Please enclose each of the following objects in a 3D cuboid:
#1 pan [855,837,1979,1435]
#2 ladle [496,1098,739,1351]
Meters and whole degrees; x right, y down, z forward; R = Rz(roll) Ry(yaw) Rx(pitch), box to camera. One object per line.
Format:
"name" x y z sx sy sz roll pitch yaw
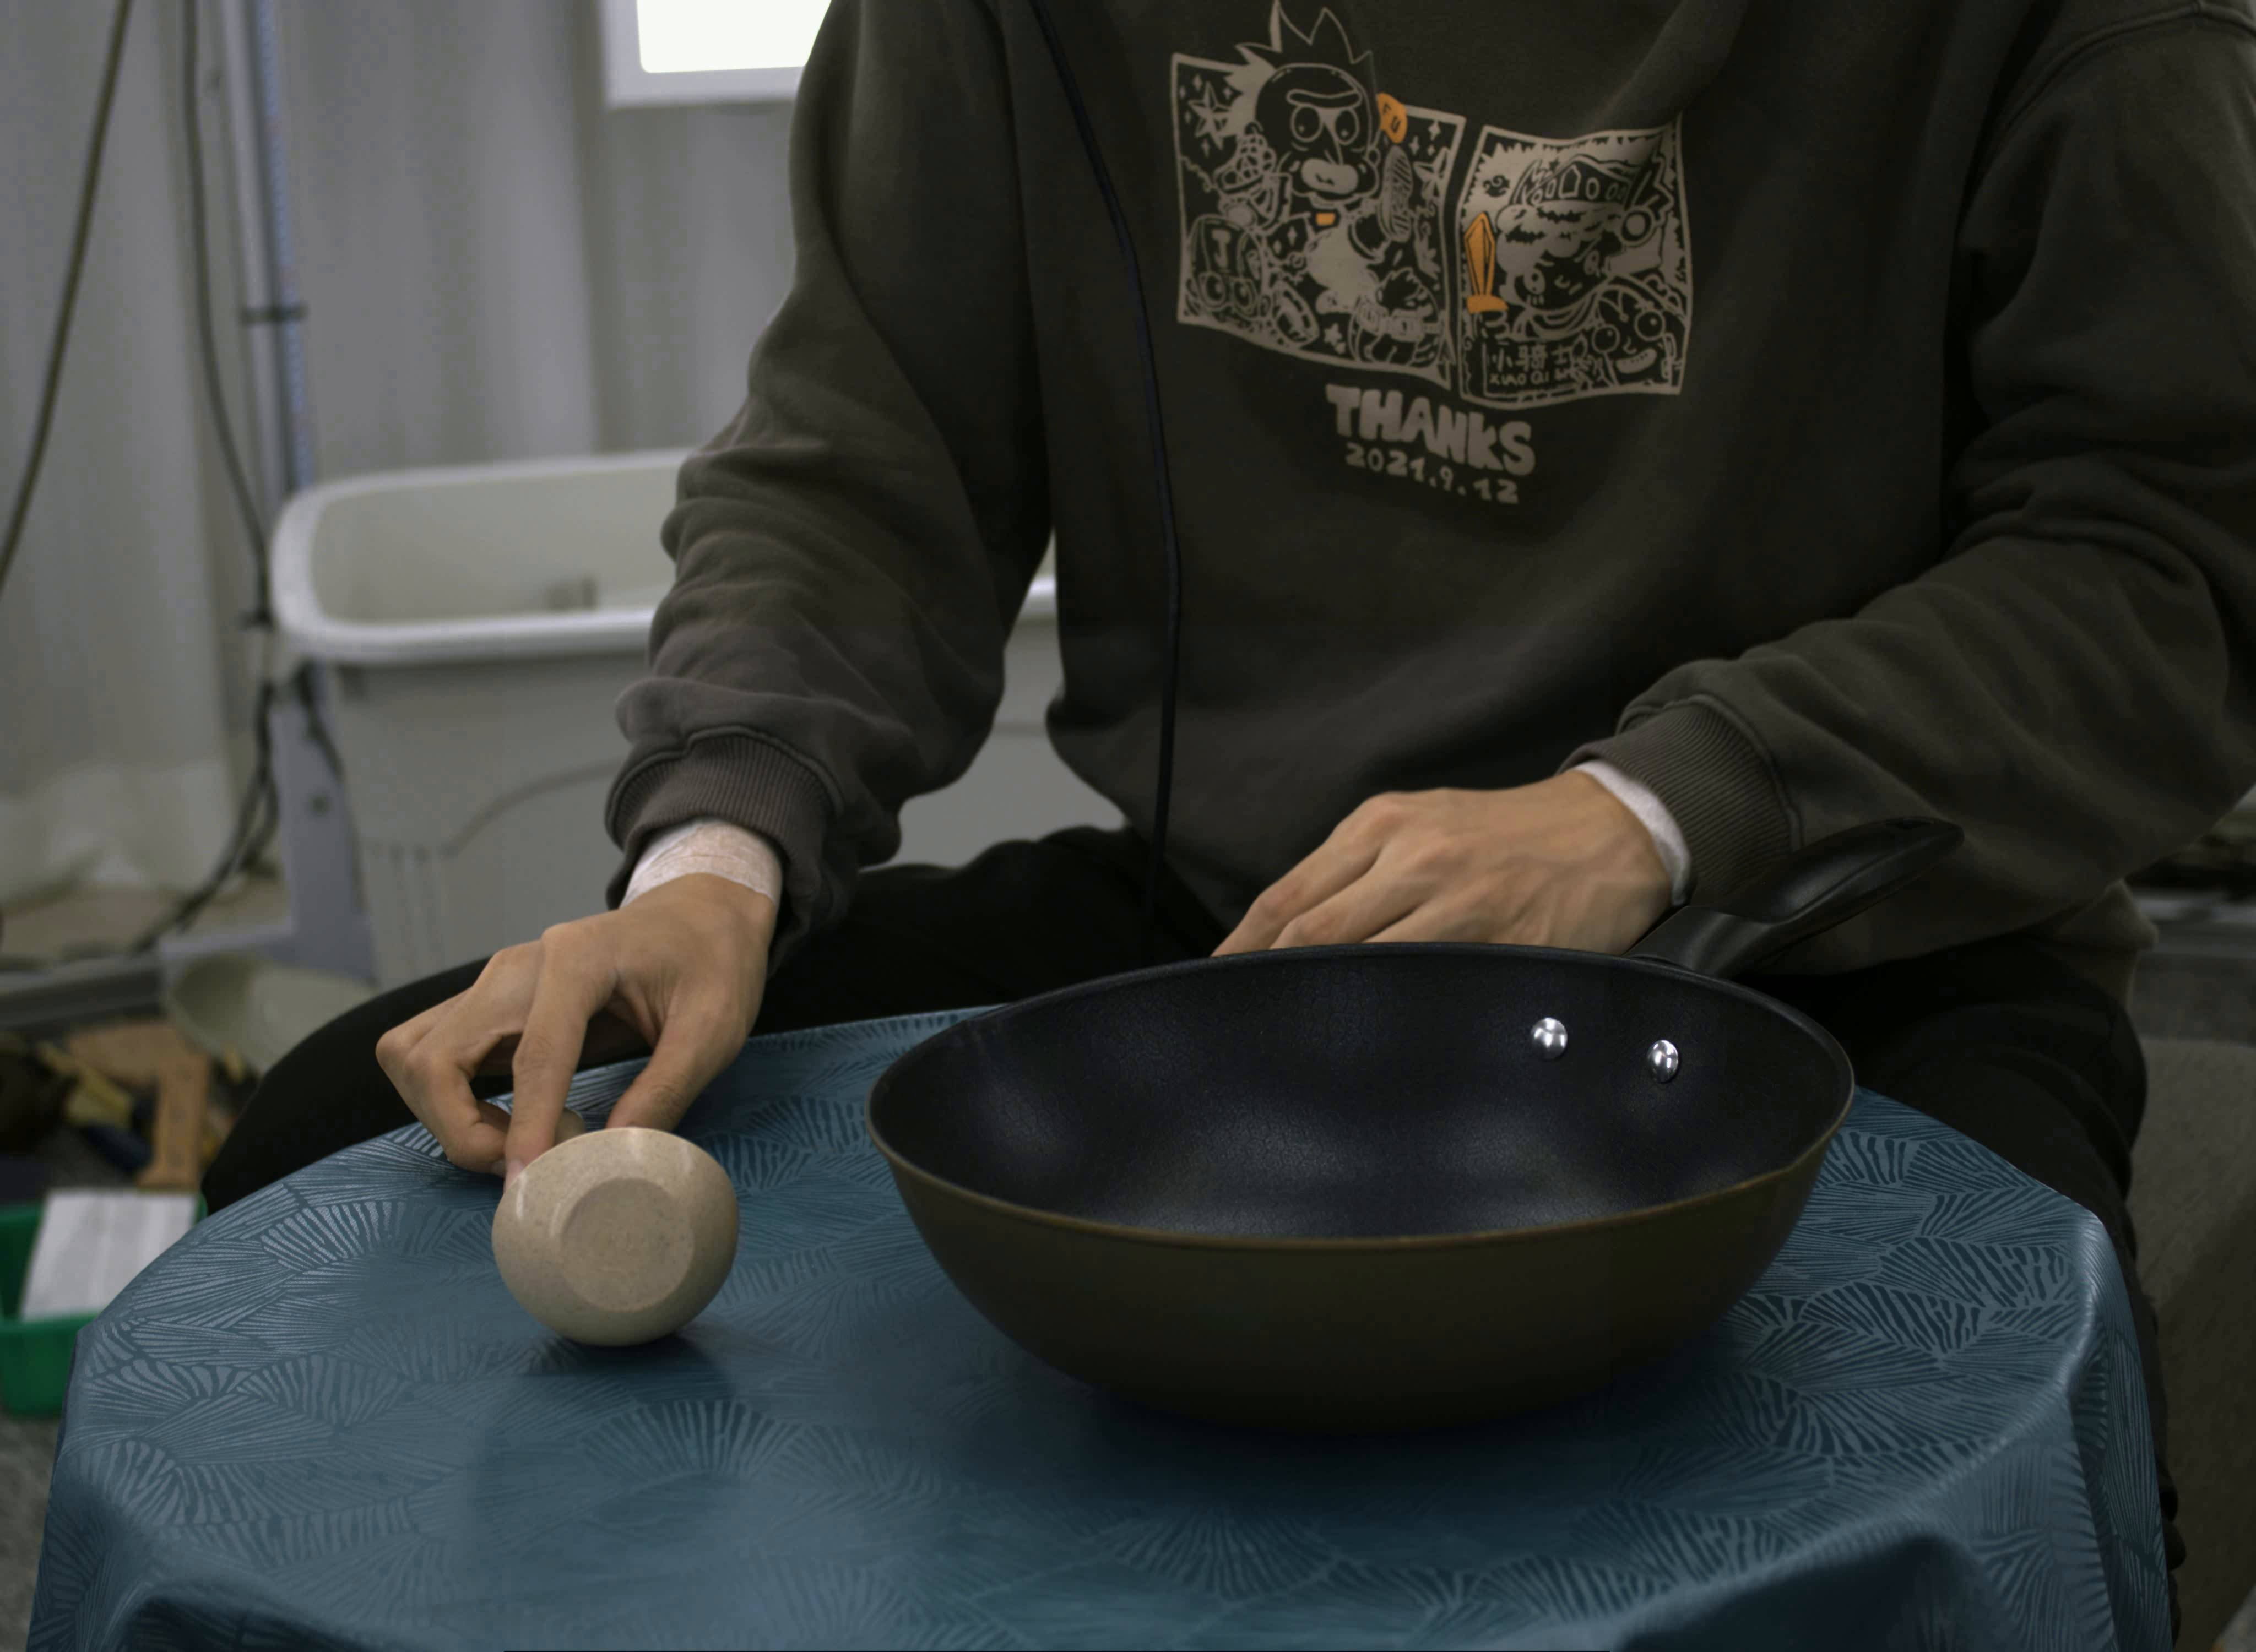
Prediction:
"pan" 0.121 0.089 1.635 0.289 0.086 0.463 9 18 38
"ladle" -0.173 0.093 1.695 0.072 0.072 0.256 -8 17 -12
